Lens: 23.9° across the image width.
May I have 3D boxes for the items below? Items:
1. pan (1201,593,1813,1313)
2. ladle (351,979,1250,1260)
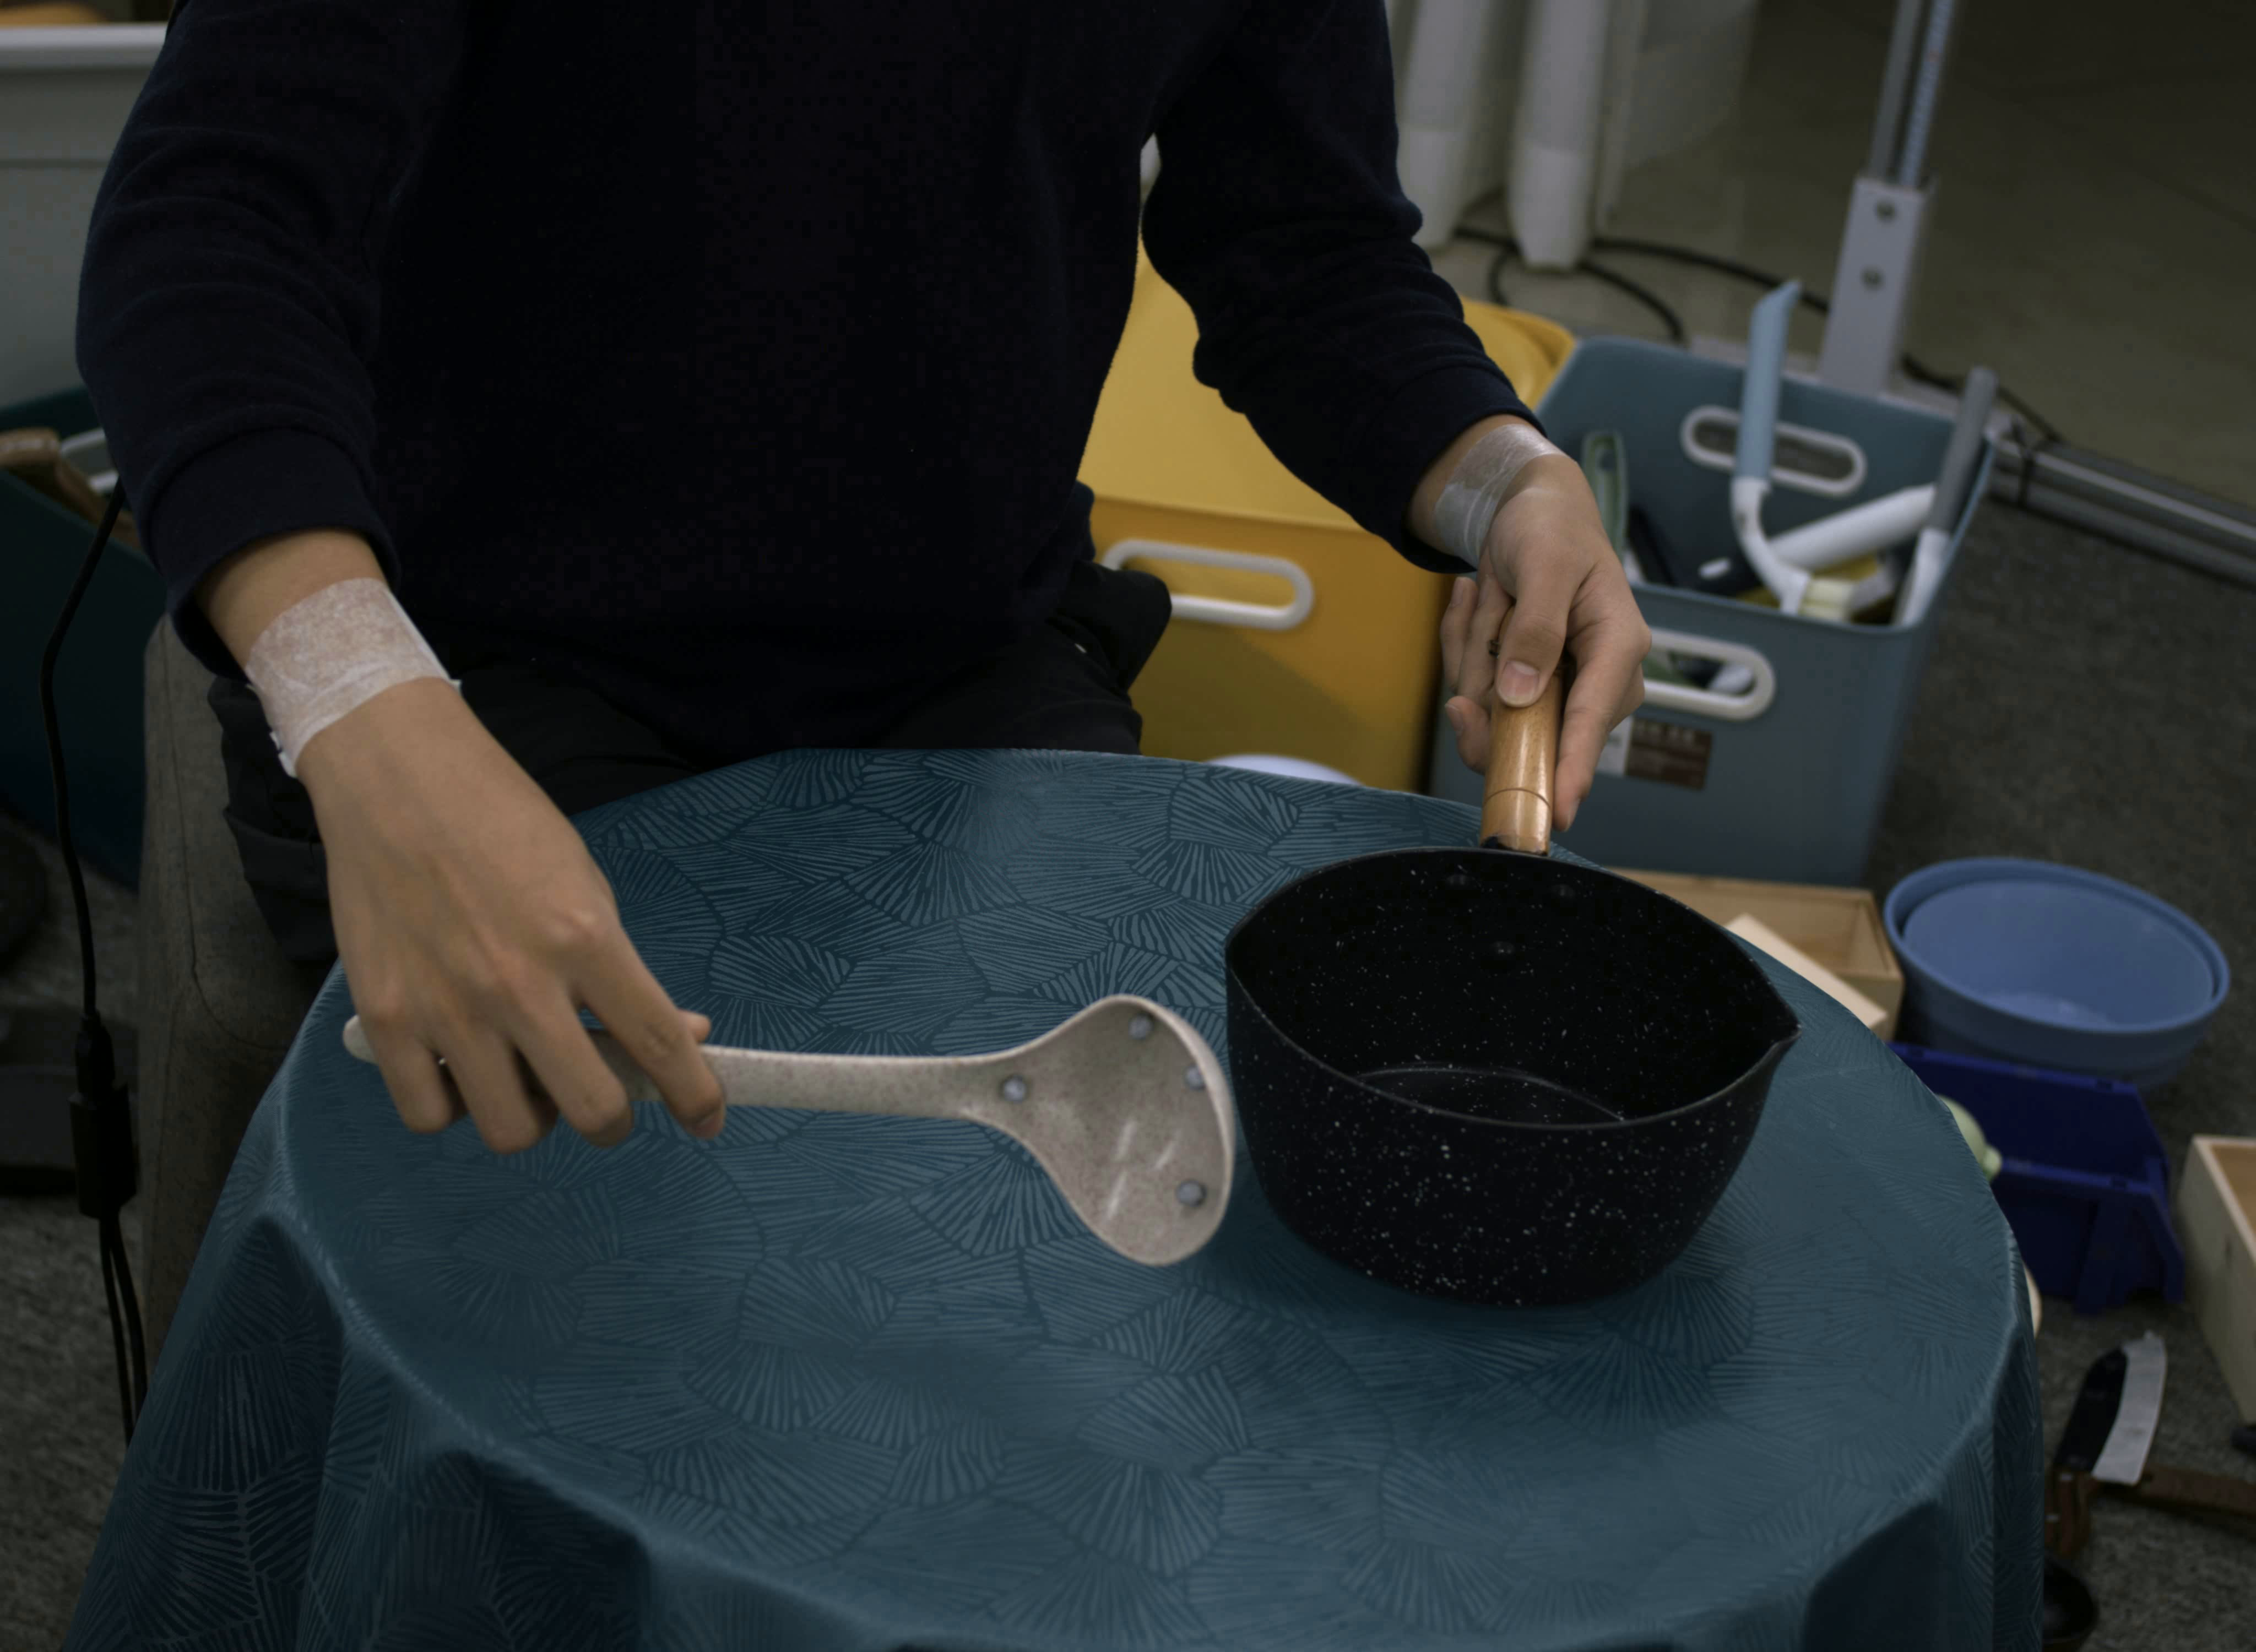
[{"bbox_3d":[0.131,0.040,1.868,0.207,0.108,0.344,6,30,2],"label":"pan"},{"bbox_3d":[-0.099,0.082,1.625,0.273,0.089,0.070,4,20,-10],"label":"ladle"}]
